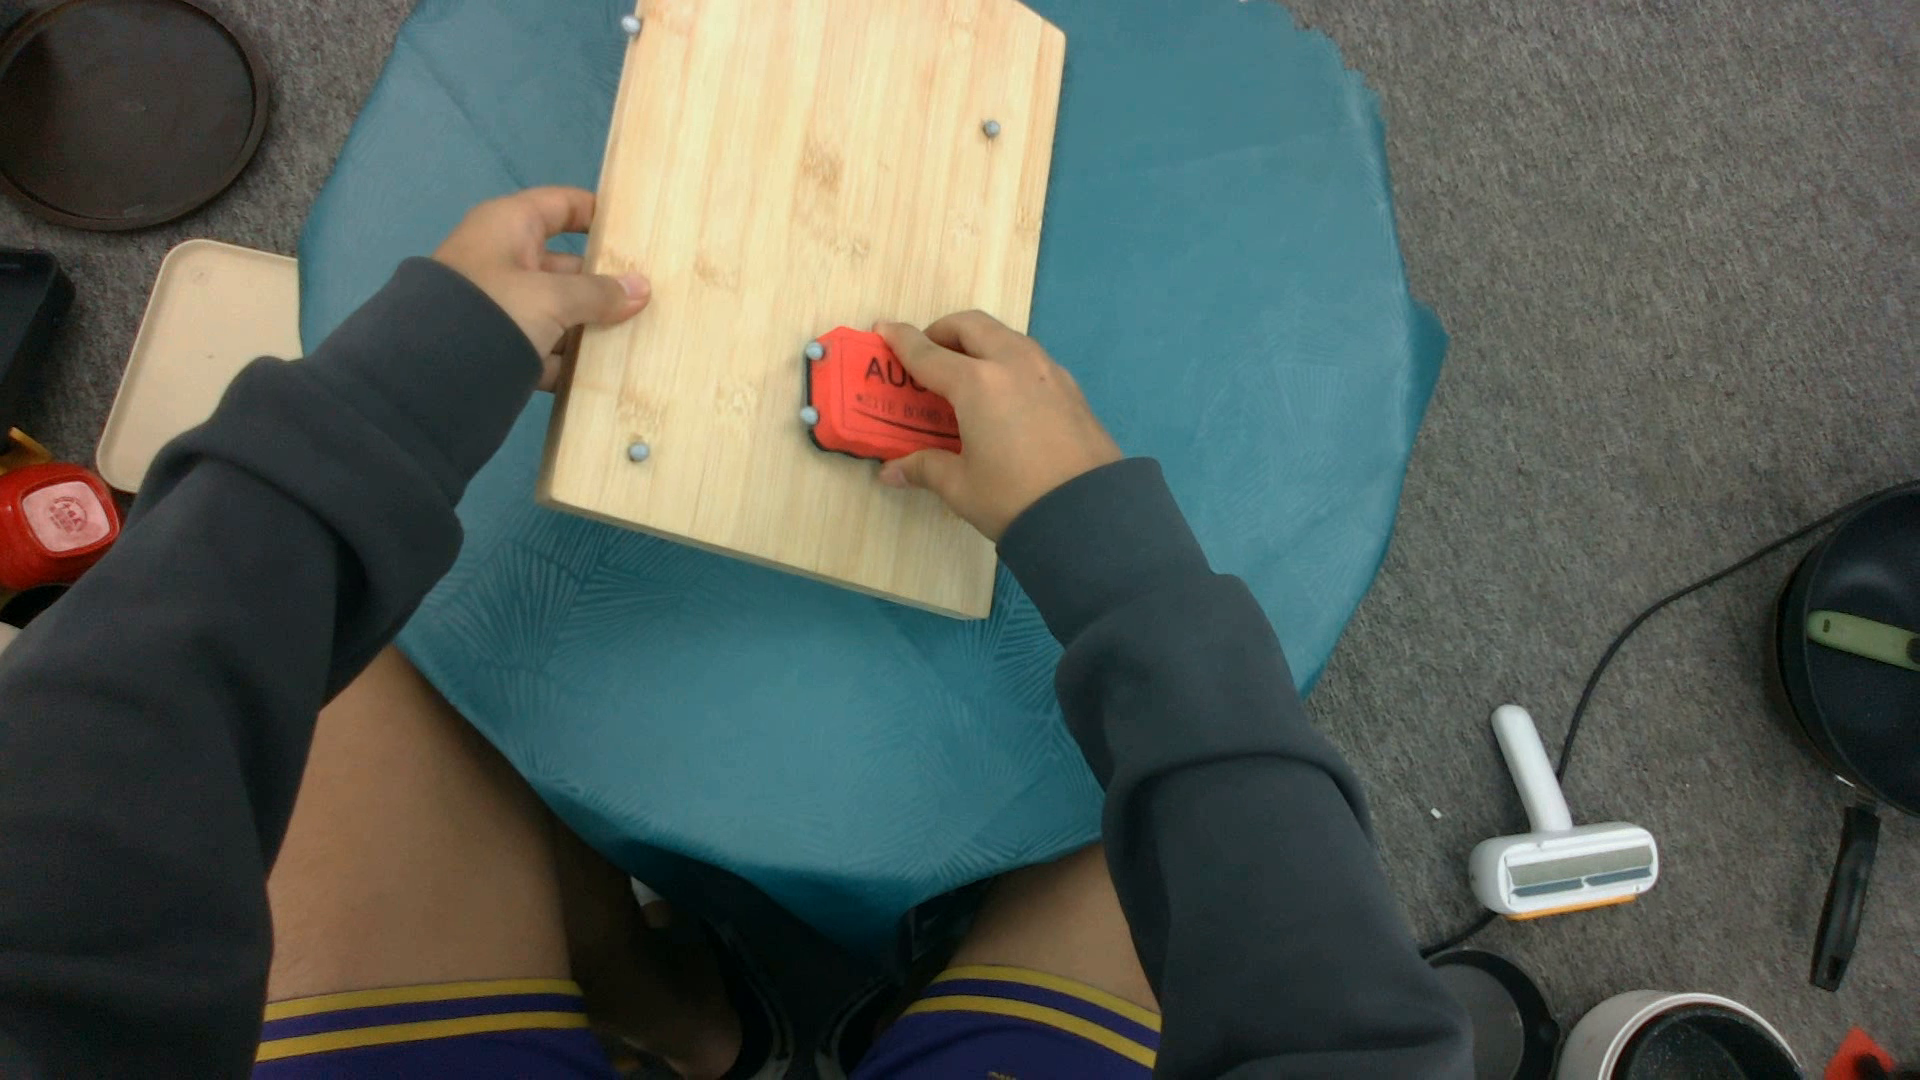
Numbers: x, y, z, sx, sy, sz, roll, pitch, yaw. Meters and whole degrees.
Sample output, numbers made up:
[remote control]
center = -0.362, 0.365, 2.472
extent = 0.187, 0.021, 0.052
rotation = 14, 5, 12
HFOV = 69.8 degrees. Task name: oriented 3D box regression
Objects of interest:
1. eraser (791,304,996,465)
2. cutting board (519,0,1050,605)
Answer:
[eraser]
center = -0.030, -0.073, 0.663
extent = 0.108, 0.023, 0.059
rotation = 10, 72, -38
[cutting board]
center = -0.066, -0.161, 0.676
extent = 0.251, 0.023, 0.349
rotation = 17, 74, -39
